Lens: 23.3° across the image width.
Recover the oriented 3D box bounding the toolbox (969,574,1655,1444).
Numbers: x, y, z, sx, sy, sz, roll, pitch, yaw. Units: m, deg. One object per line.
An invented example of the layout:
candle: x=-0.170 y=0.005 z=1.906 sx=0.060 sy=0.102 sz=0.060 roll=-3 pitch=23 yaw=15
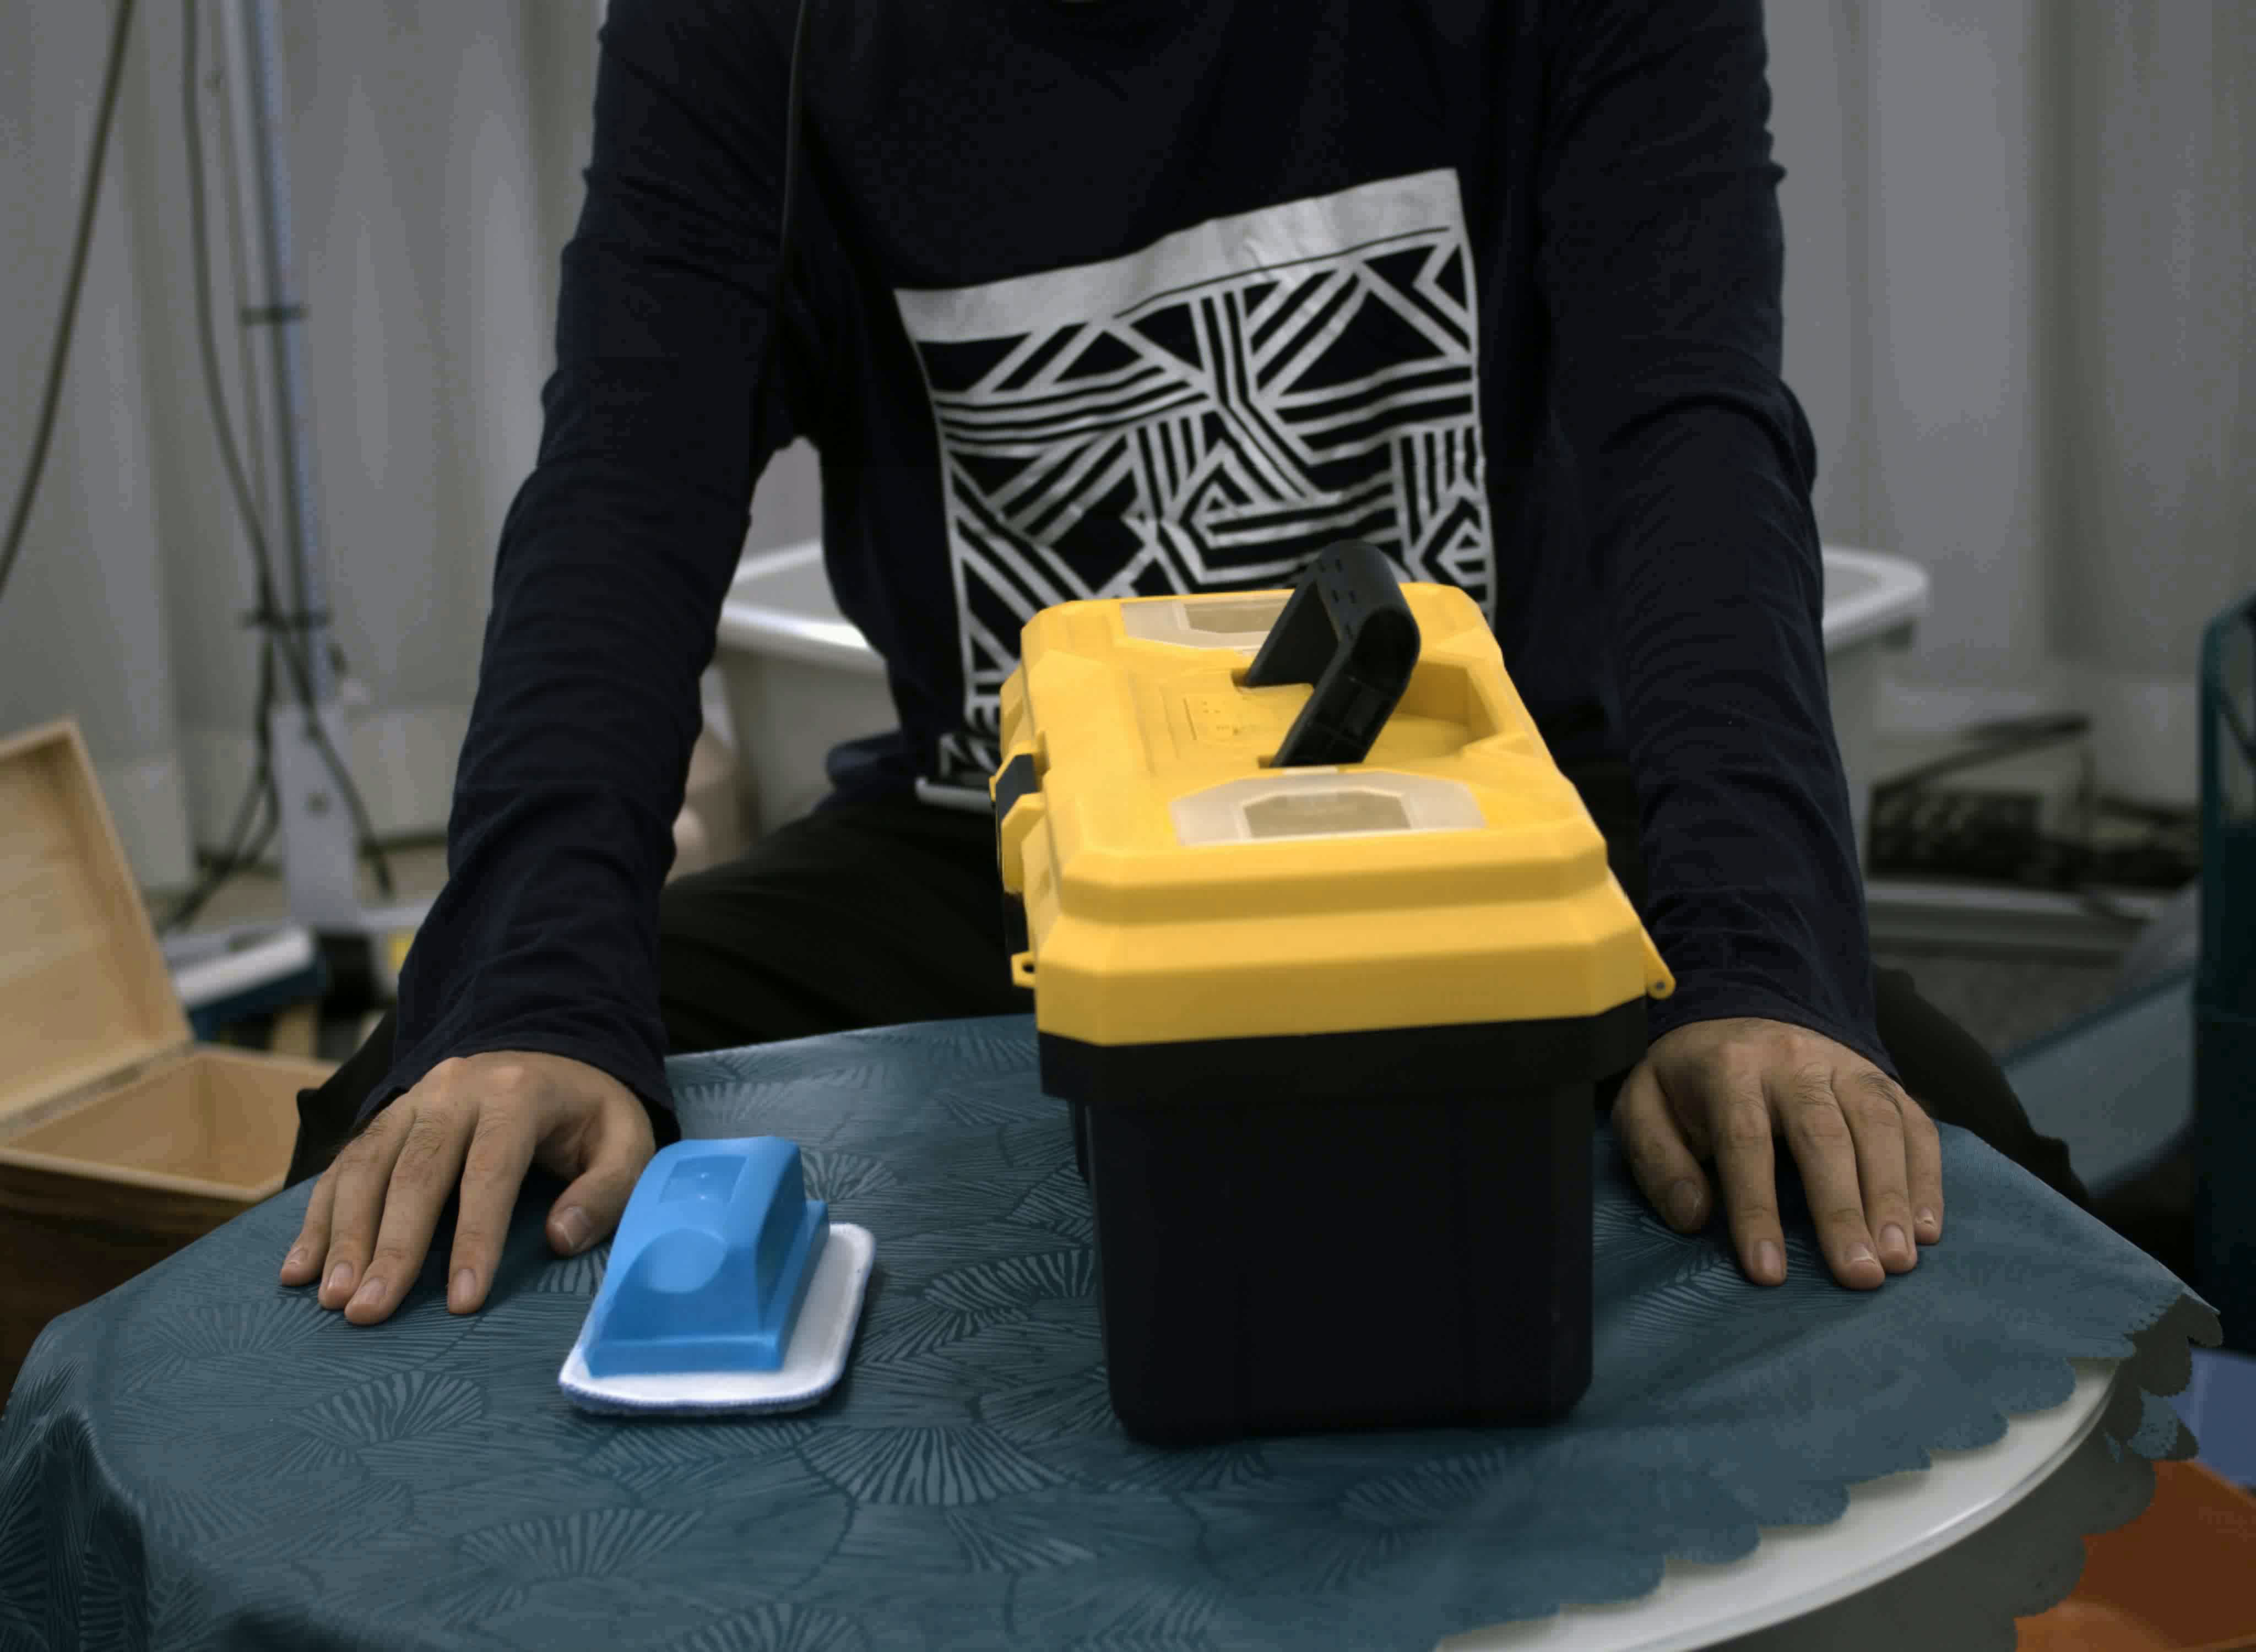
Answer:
toolbox: x=0.049 y=0.045 z=1.629 sx=0.180 sy=0.172 sz=0.354 roll=-3 pitch=15 yaw=-2

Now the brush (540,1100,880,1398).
brush: x=-0.121 y=0.120 z=1.601 sx=0.083 sy=0.055 sz=0.145 roll=2 pitch=17 yaw=6
